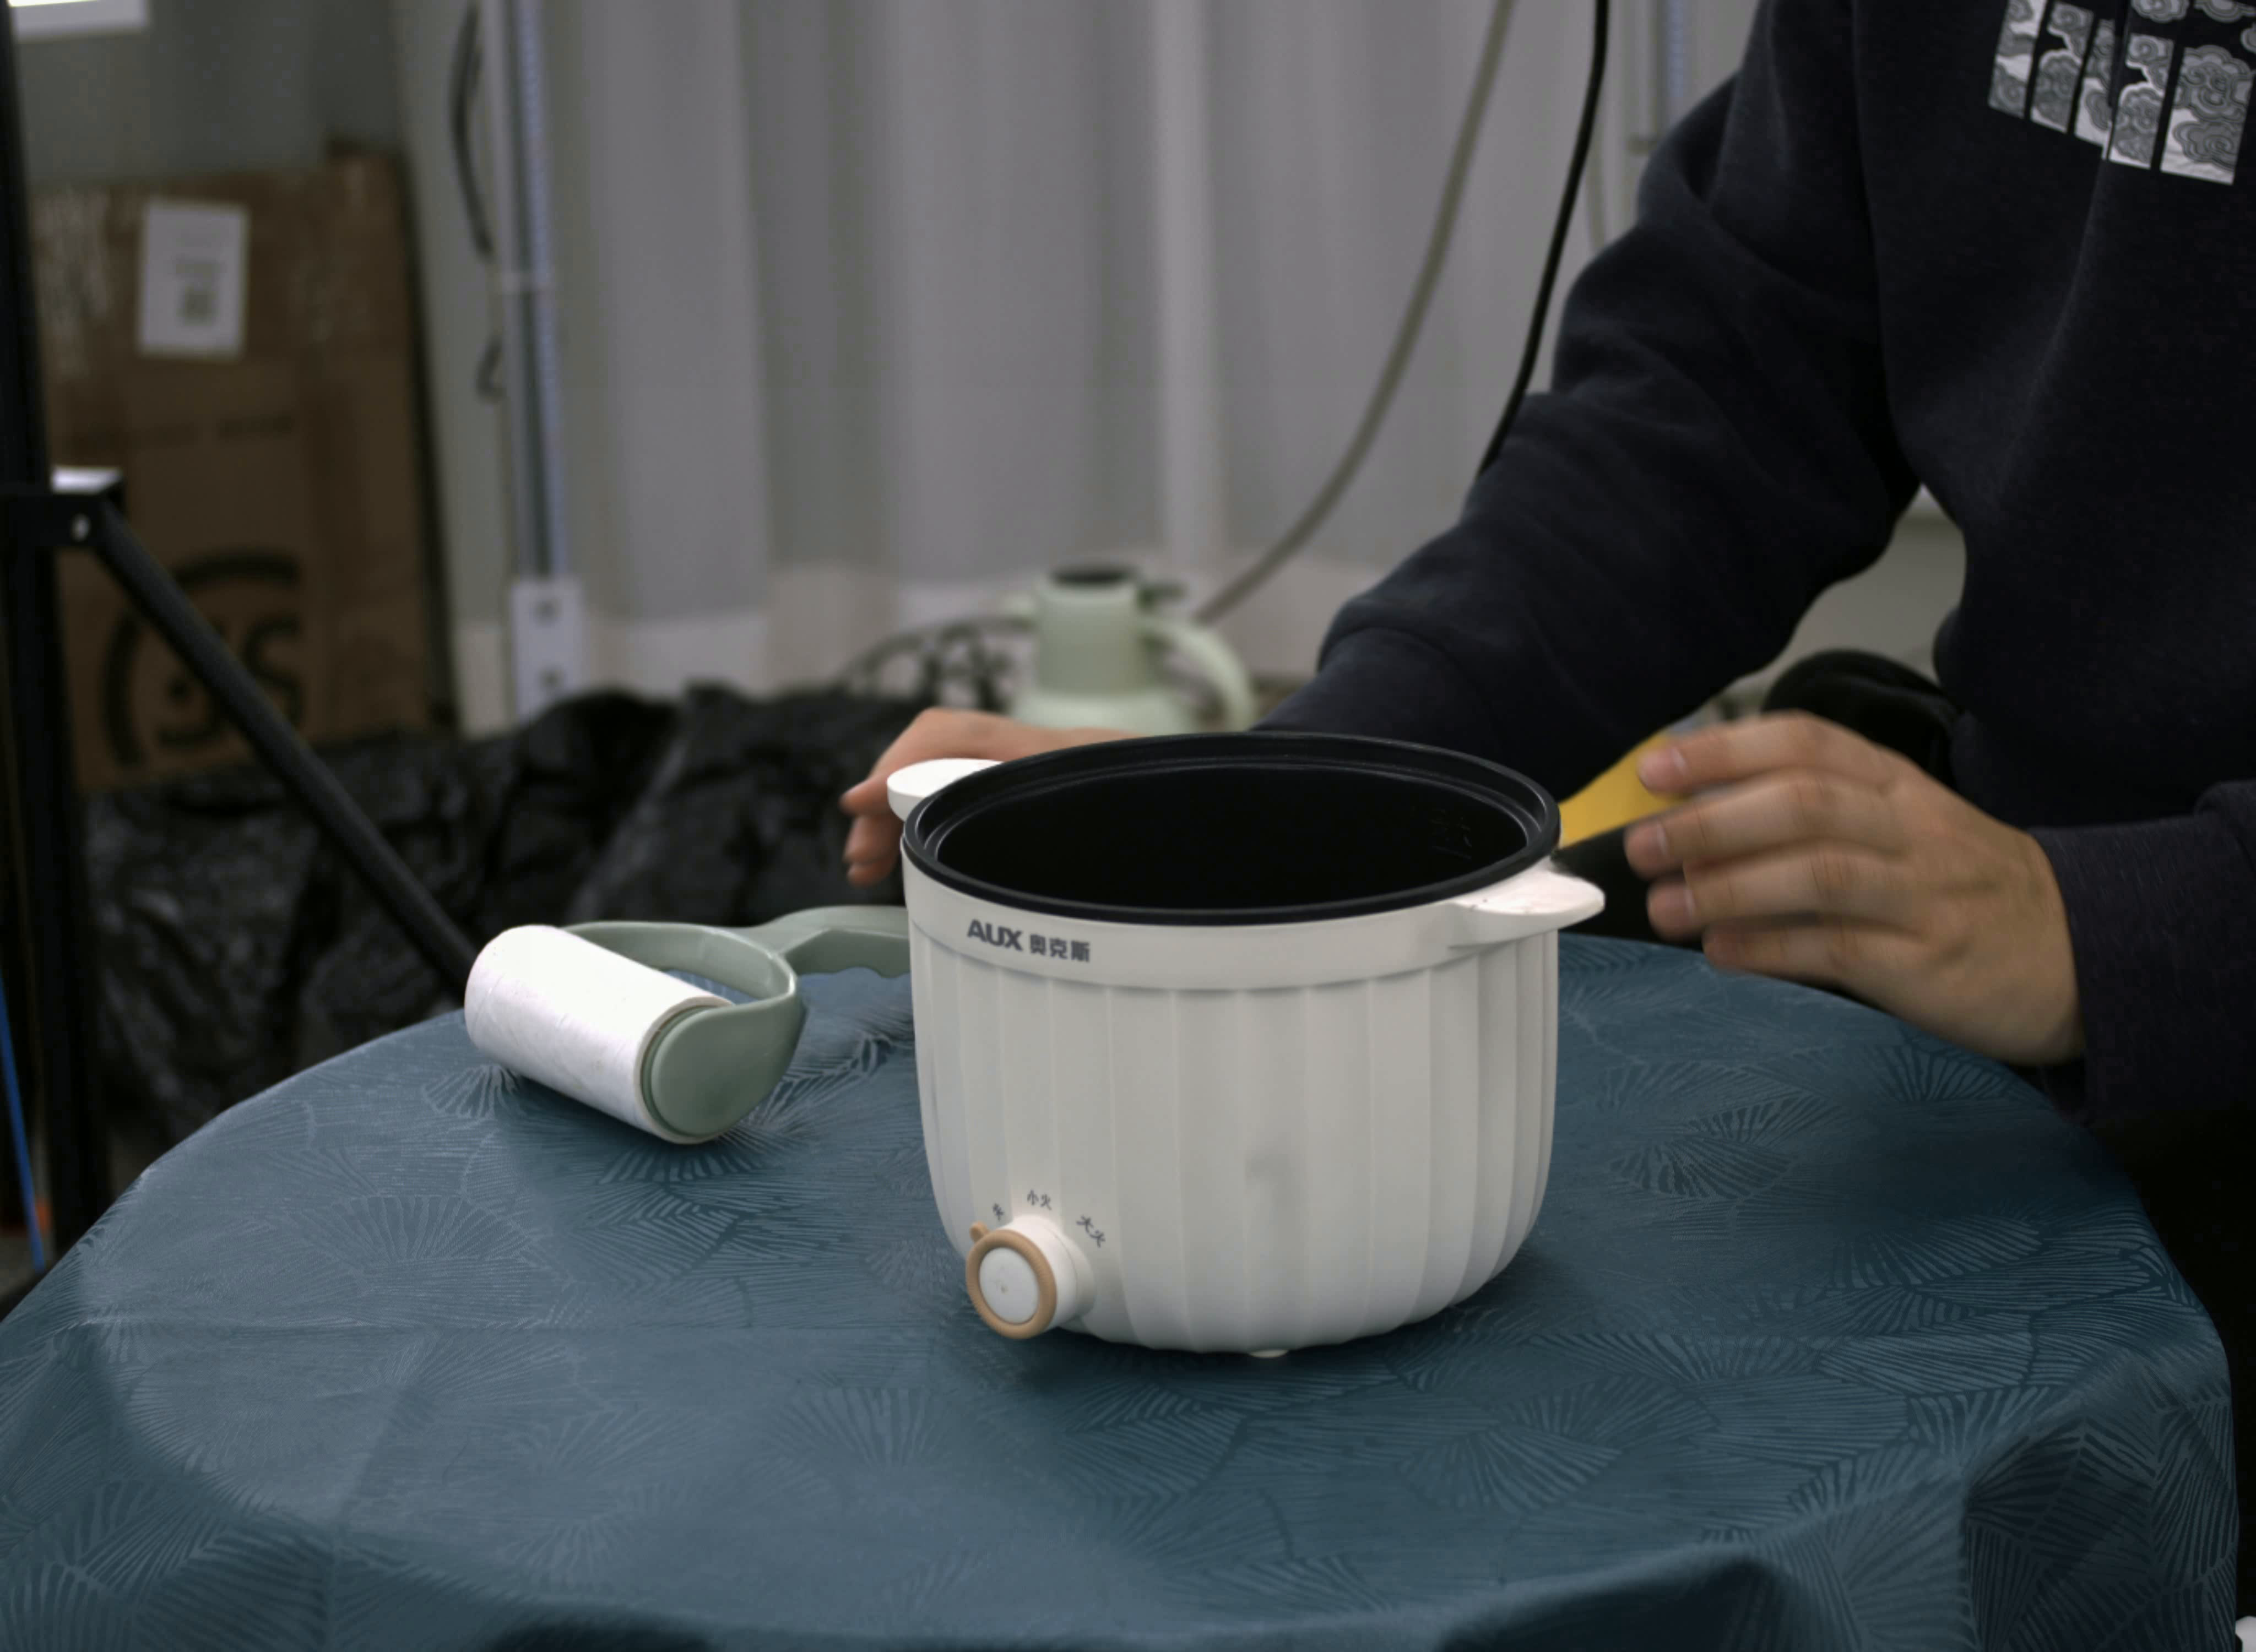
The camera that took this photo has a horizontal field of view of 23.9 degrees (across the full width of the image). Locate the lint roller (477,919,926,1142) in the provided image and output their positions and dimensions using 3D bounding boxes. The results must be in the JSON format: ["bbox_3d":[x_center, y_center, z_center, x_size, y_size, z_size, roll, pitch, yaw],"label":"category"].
[{"bbox_3d":[-0.097,0.055,1.683,0.193,0.048,0.119,-11,15,-35],"label":"lint roller"}]

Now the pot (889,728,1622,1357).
[{"bbox_3d":[0.030,0.062,1.462,0.245,0.143,0.186,9,16,39],"label":"pot"}]
